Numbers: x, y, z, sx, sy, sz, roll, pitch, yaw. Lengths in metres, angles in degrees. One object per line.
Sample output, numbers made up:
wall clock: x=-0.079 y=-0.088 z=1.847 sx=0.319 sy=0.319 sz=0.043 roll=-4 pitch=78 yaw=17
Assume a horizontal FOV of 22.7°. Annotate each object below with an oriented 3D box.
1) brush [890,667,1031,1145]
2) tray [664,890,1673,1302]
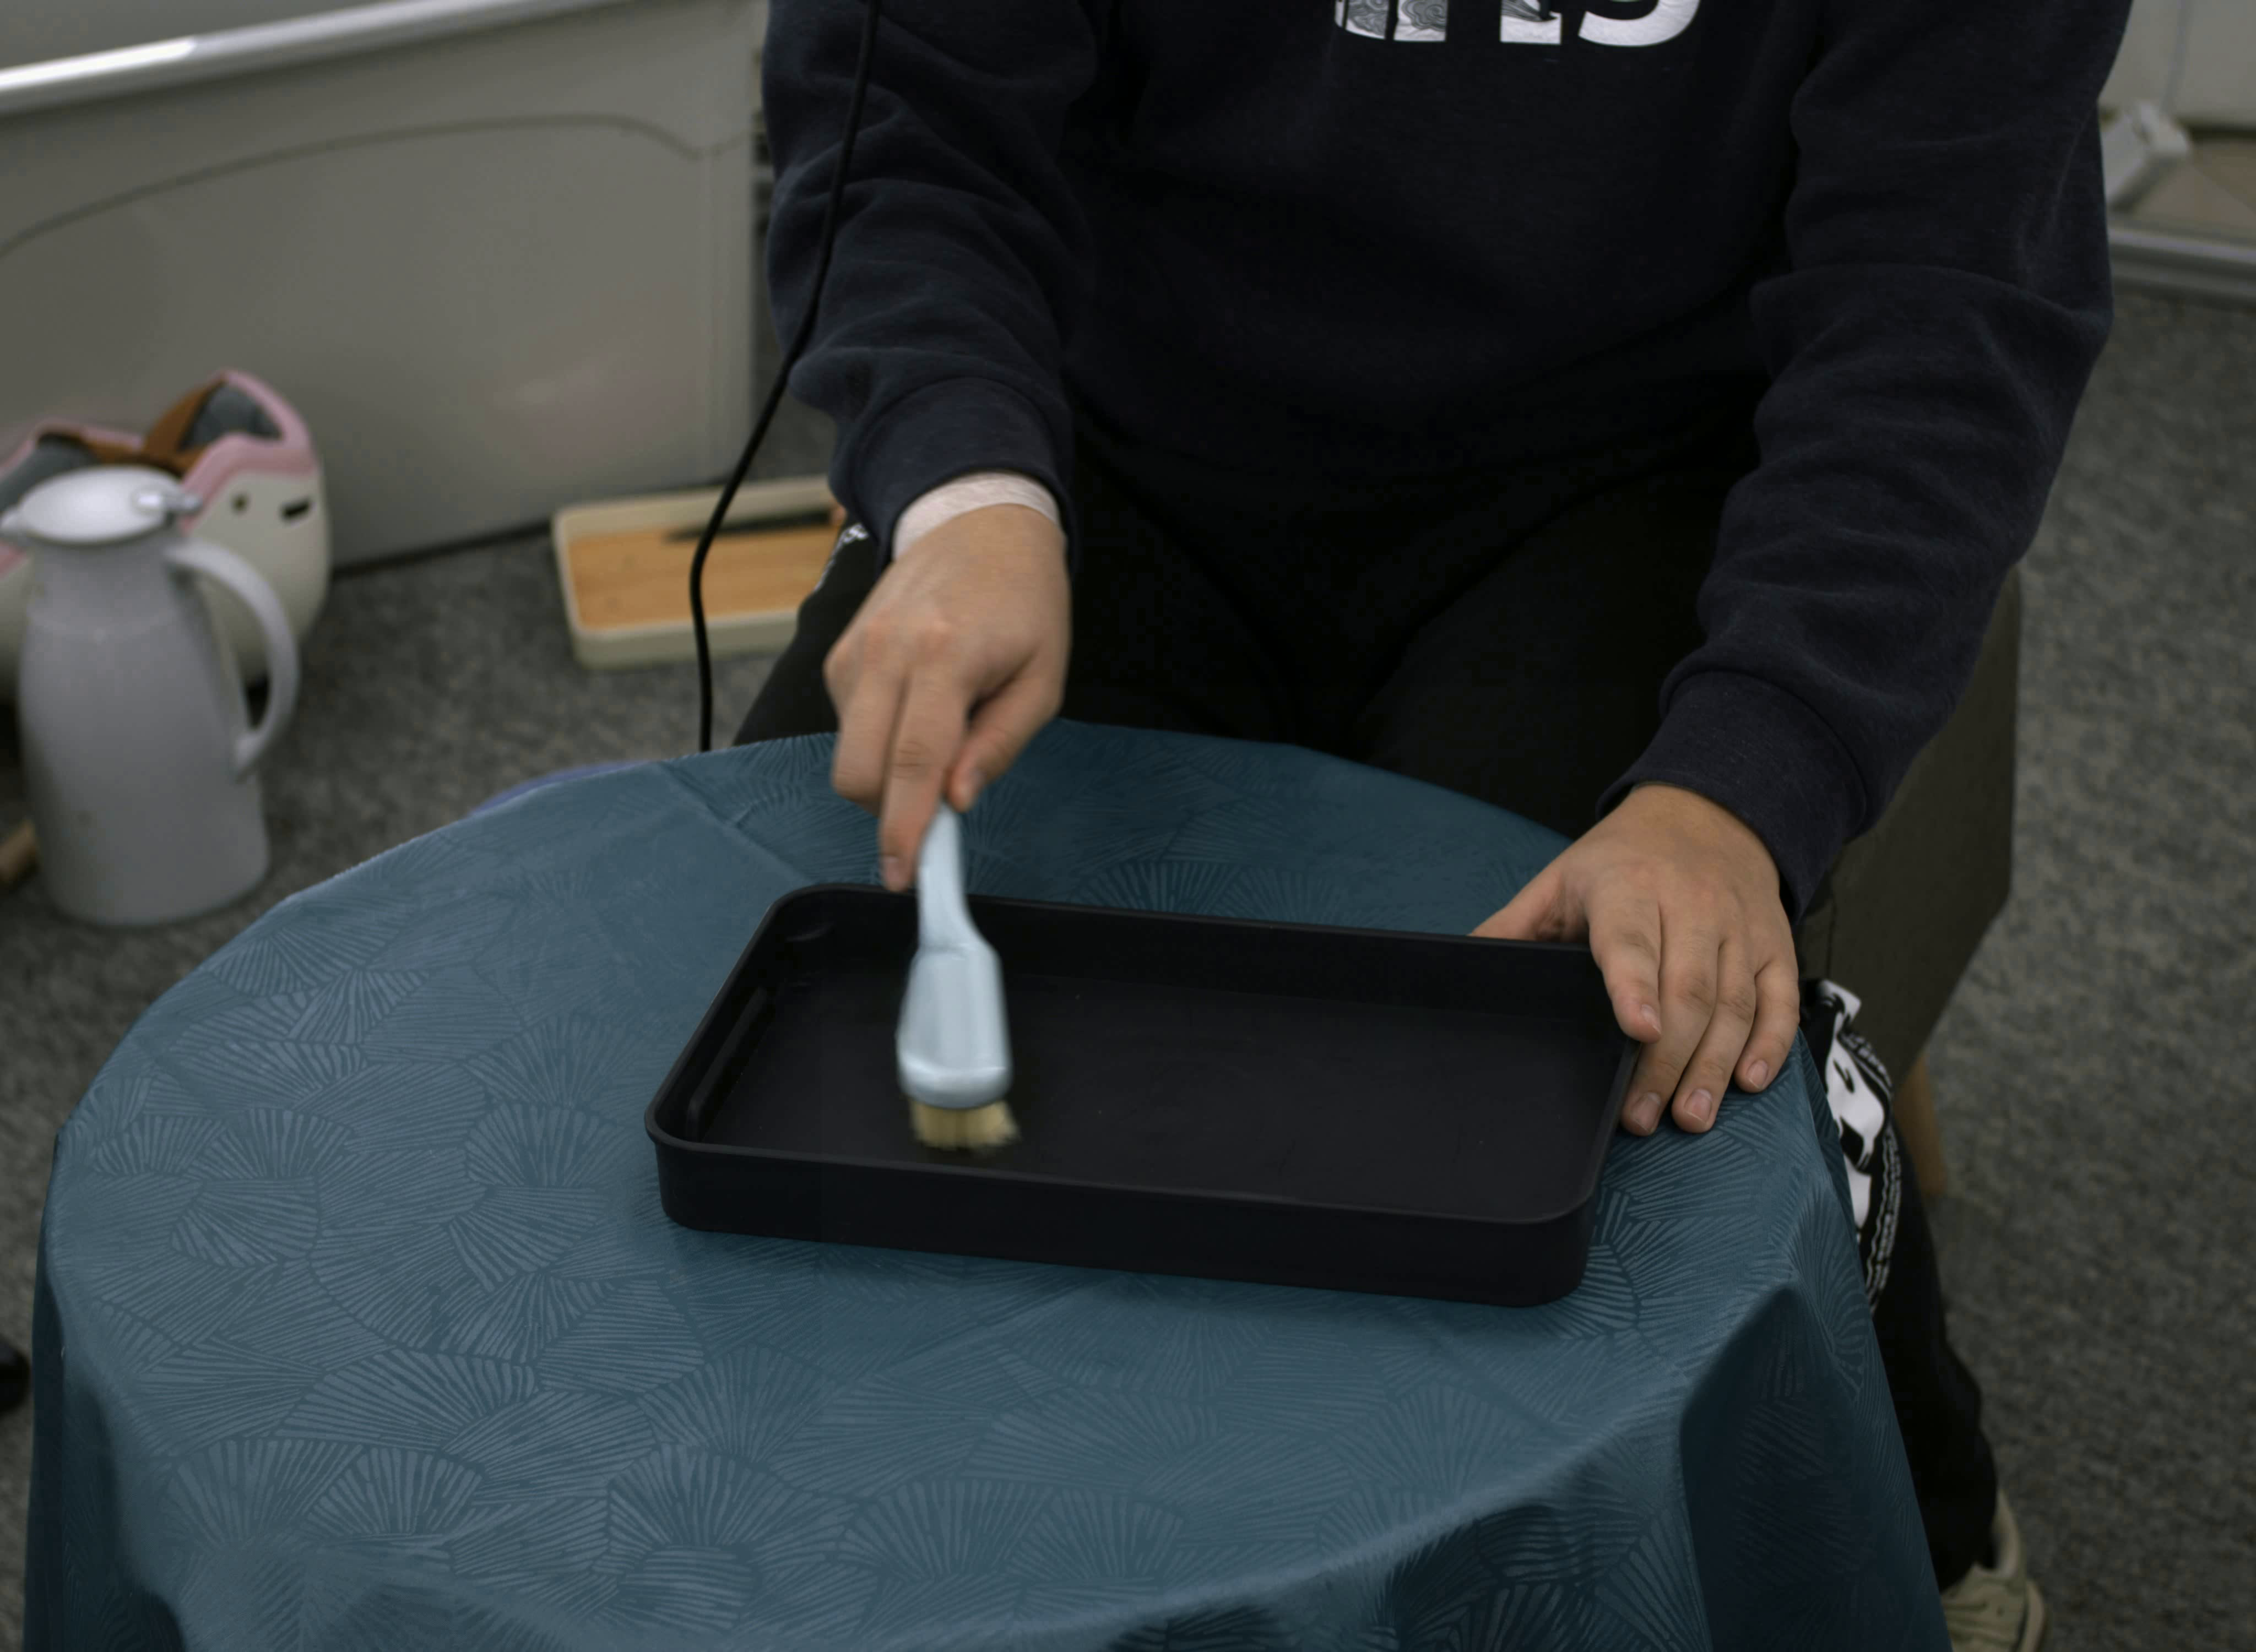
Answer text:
brush: x=-0.063 y=0.024 z=1.960 sx=0.037 sy=0.049 sz=0.233 roll=-9 pitch=43 yaw=-3
tray: x=0.017 y=0.088 z=1.890 sx=0.316 sy=0.036 sz=0.187 roll=3 pitch=27 yaw=12
